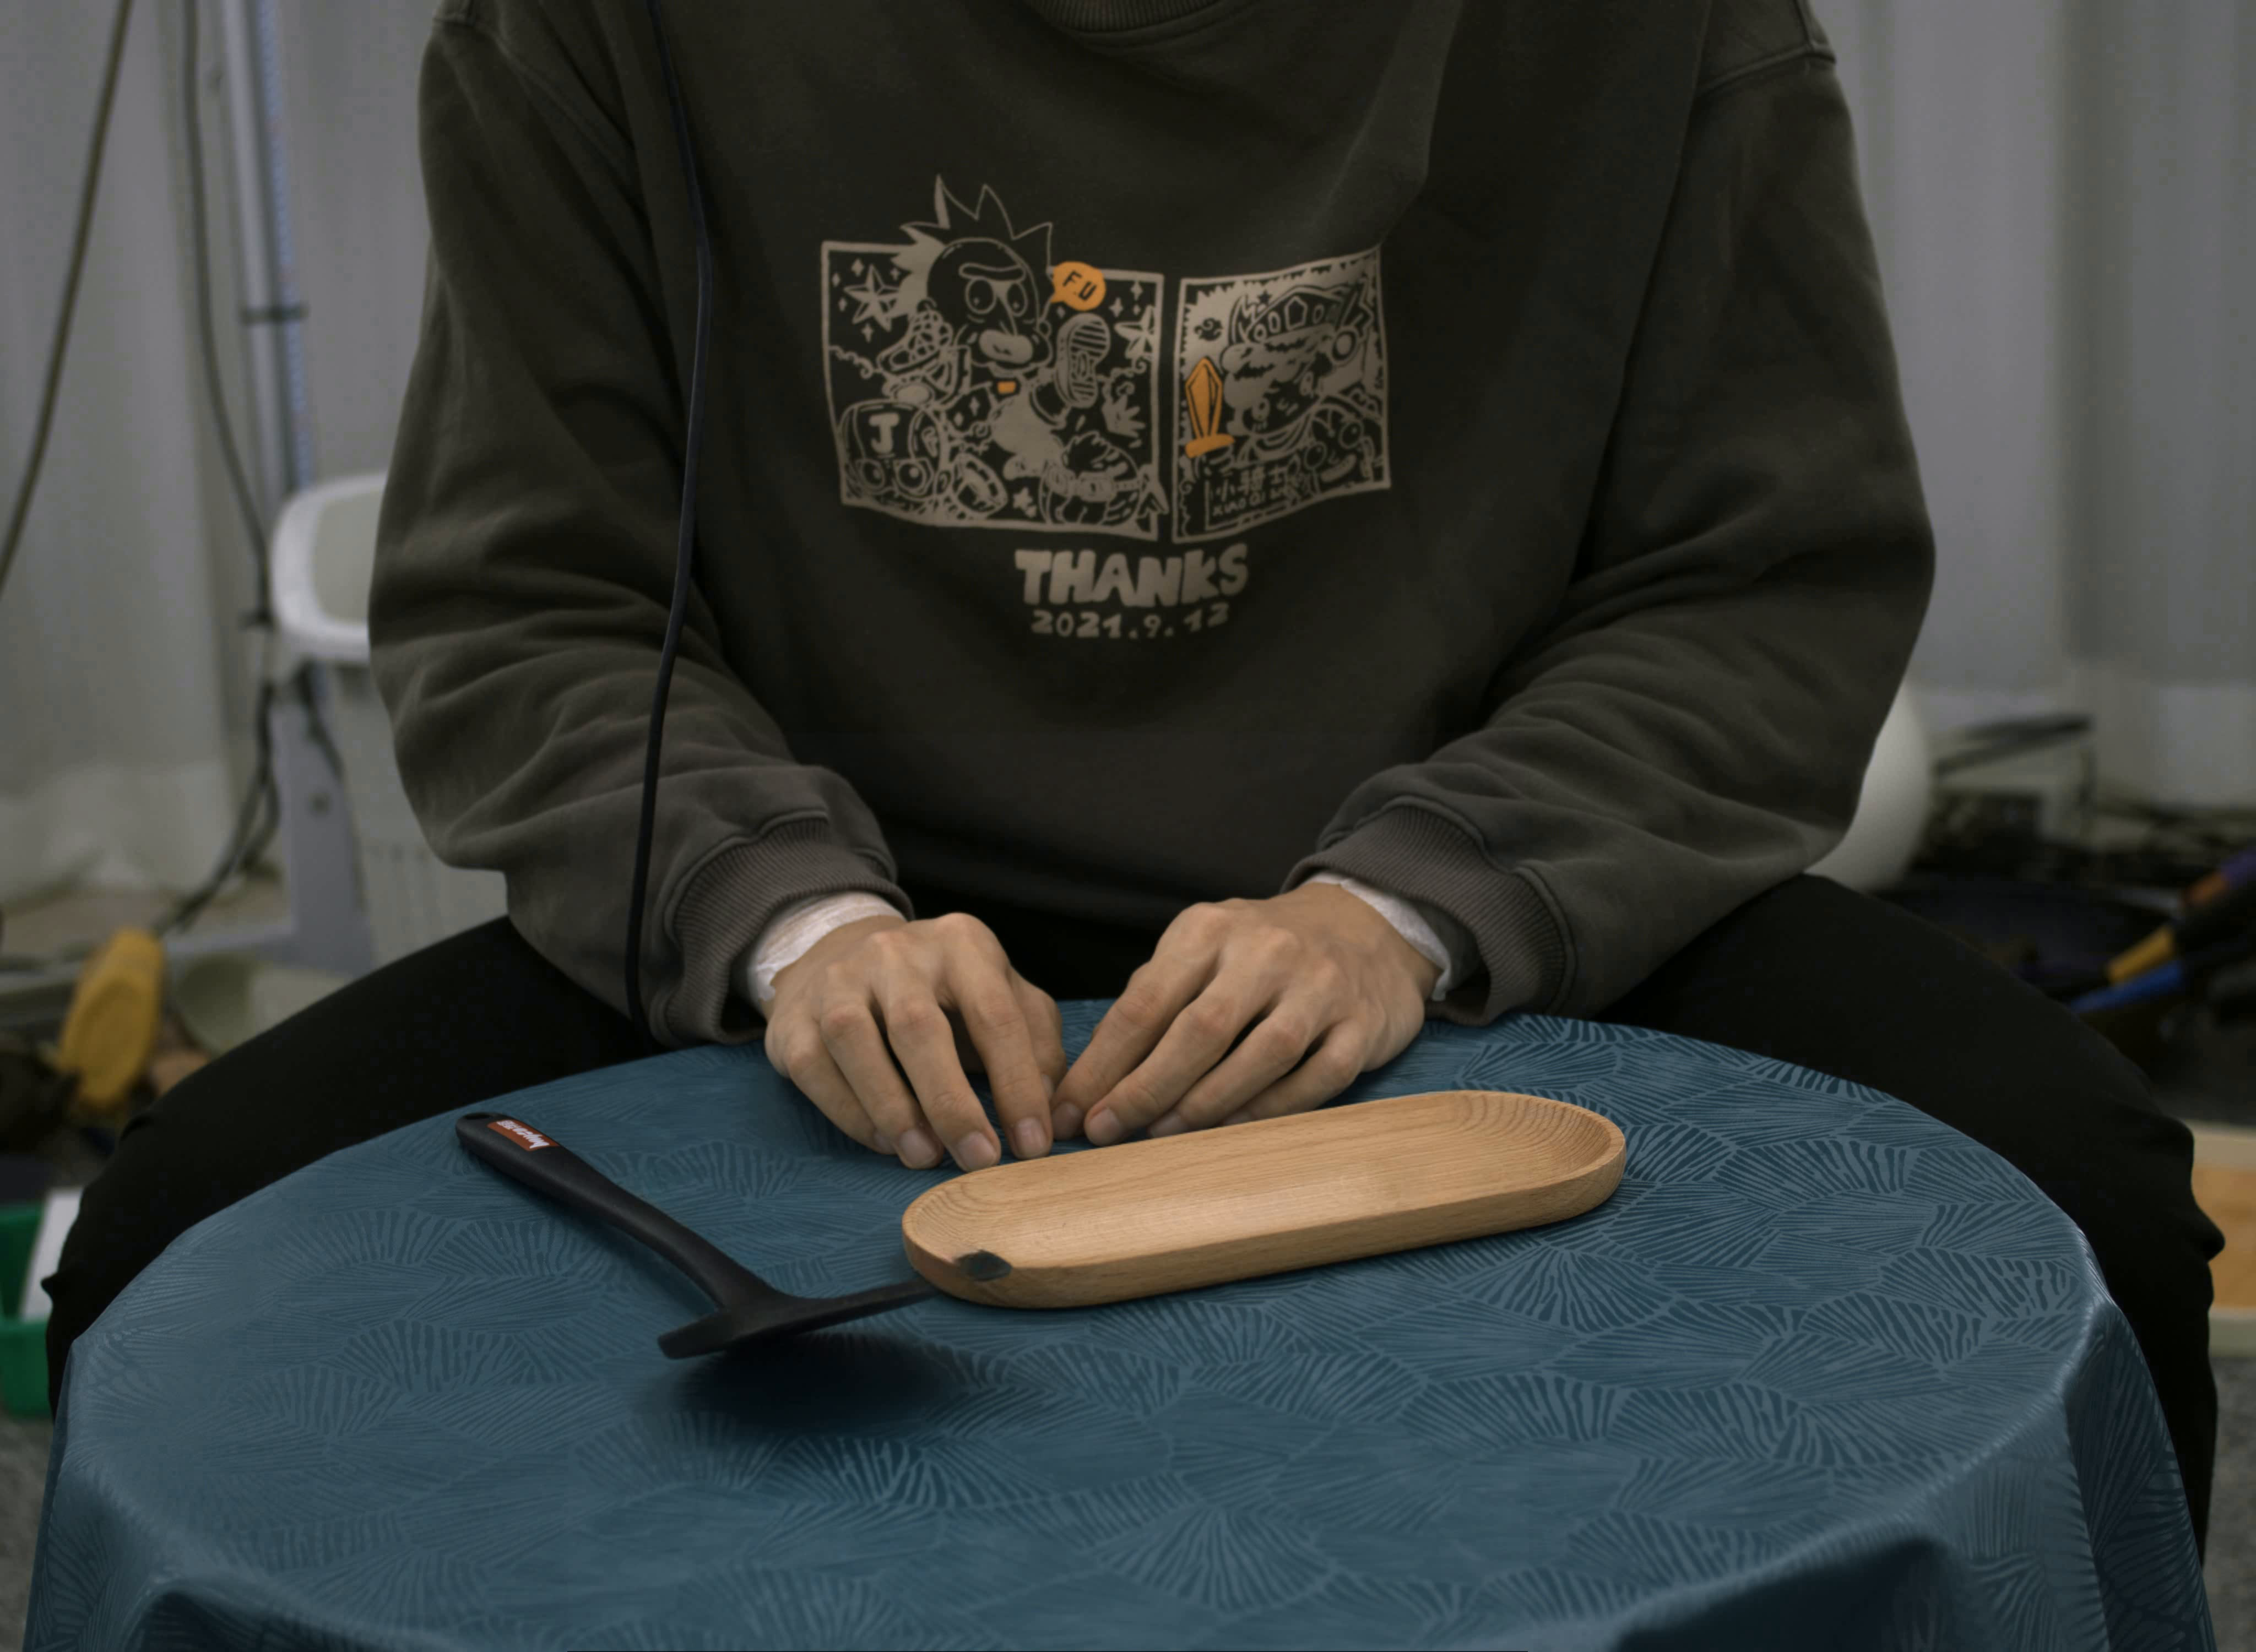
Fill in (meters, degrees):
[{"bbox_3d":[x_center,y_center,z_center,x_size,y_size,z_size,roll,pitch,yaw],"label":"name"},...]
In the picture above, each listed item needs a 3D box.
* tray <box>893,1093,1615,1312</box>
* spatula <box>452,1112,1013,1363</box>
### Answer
[{"bbox_3d":[0.040,0.116,1.681,0.230,0.020,0.102,-10,16,-19],"label":"tray"},{"bbox_3d":[-0.144,0.118,1.668,0.099,0.040,0.328,-9,16,-26],"label":"spatula"}]
